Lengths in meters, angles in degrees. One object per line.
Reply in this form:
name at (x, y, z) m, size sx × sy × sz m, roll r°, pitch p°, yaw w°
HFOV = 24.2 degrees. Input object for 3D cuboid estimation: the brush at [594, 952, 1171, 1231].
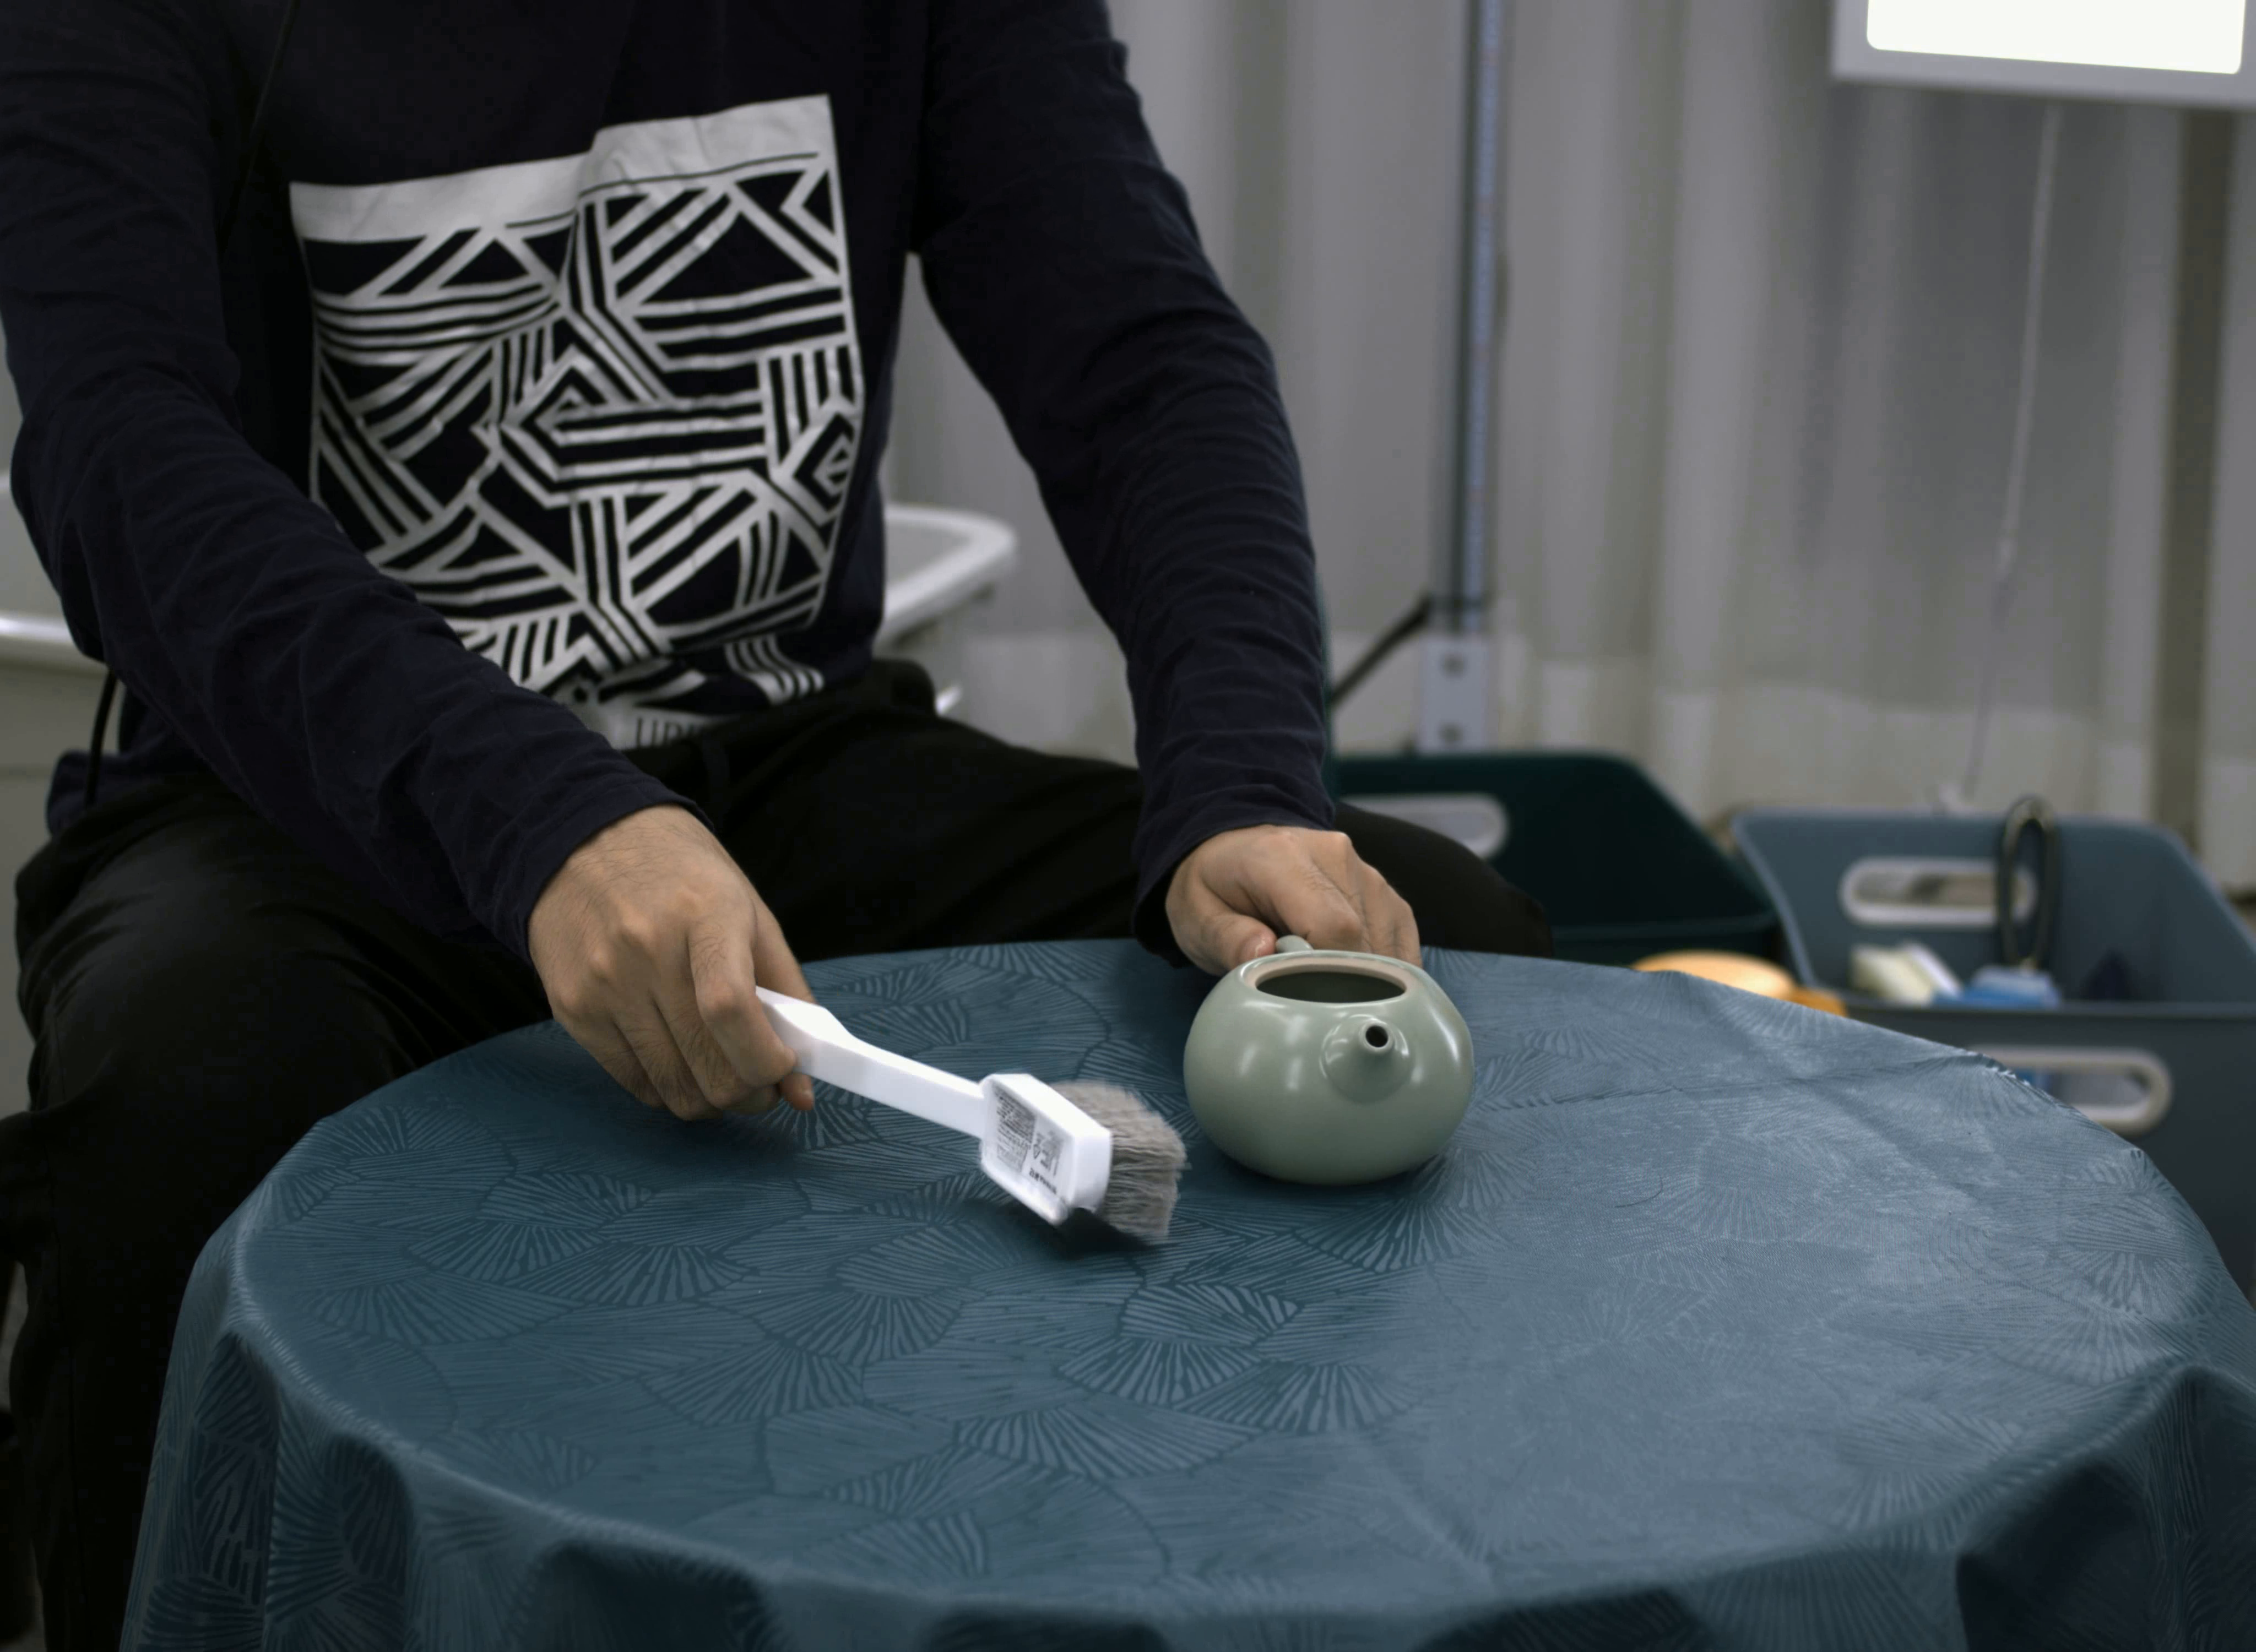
brush at (-0.076, 0.076, 1.640) m, size 0.050 × 0.034 × 0.240 m, roll -13°, pitch 23°, yaw -42°

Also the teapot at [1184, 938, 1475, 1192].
teapot at (0.062, 0.074, 1.657) m, size 0.091 × 0.061 × 0.127 m, roll -7°, pitch 16°, yaw -7°
